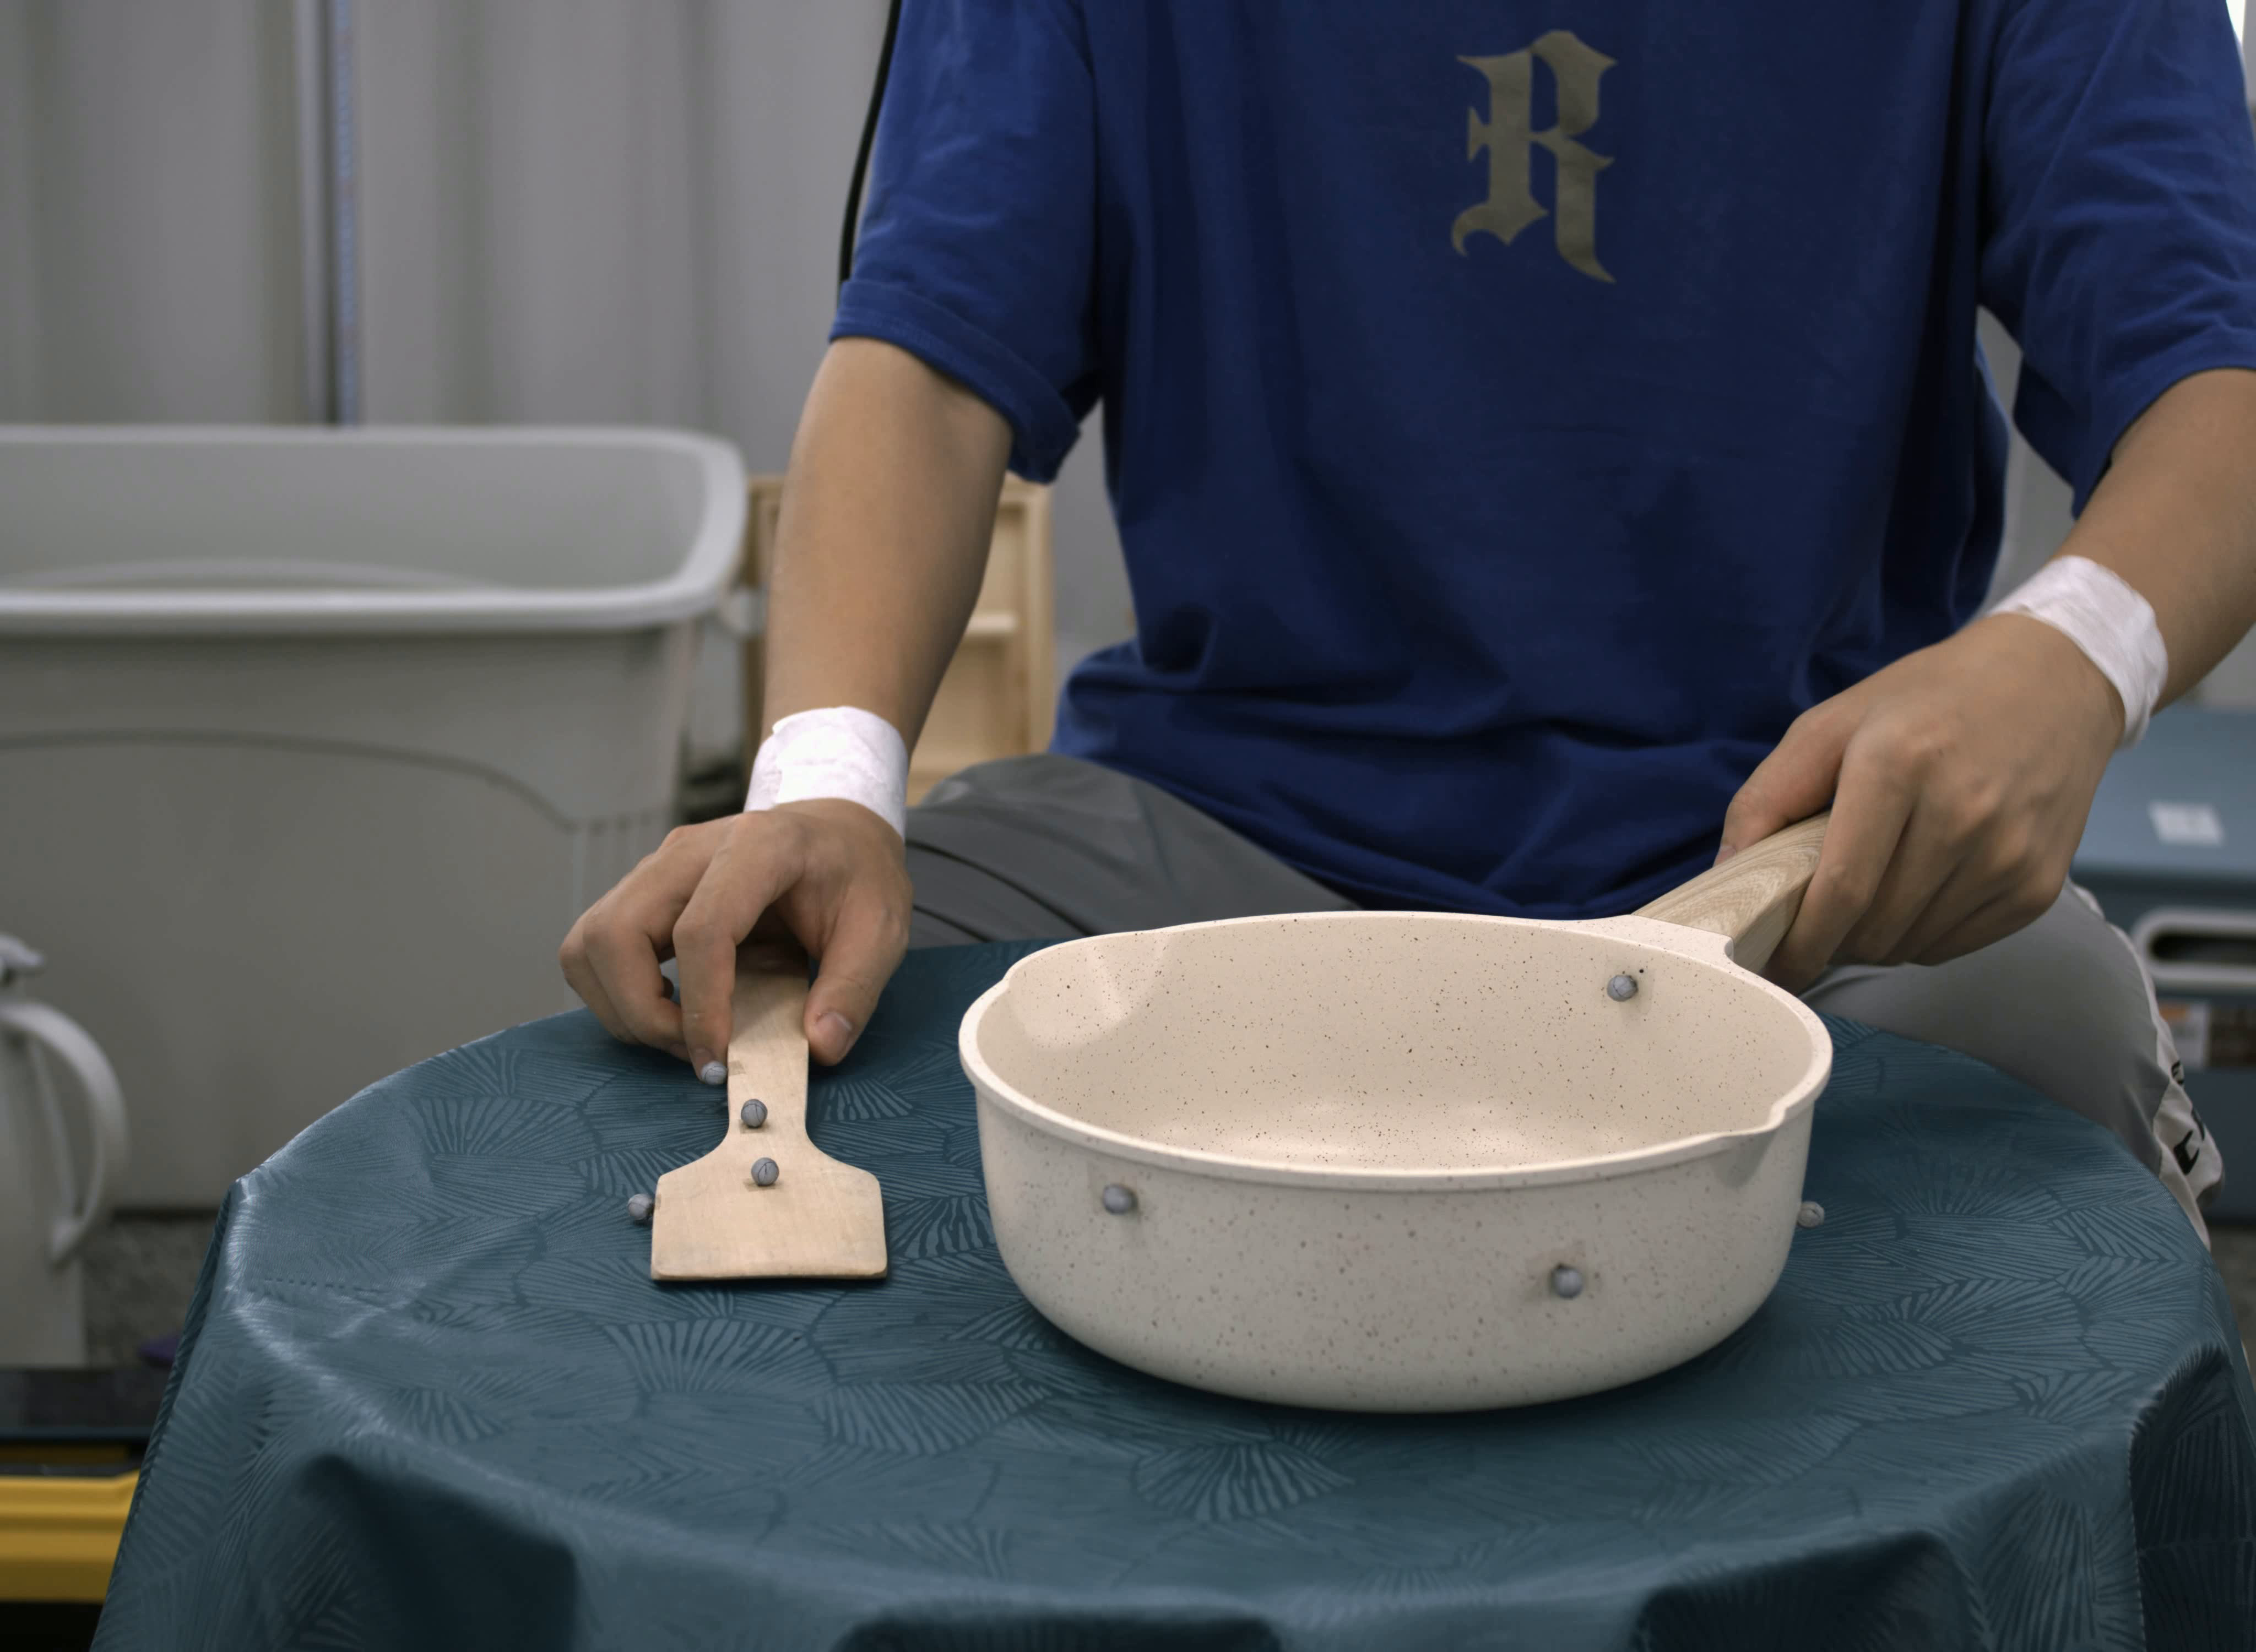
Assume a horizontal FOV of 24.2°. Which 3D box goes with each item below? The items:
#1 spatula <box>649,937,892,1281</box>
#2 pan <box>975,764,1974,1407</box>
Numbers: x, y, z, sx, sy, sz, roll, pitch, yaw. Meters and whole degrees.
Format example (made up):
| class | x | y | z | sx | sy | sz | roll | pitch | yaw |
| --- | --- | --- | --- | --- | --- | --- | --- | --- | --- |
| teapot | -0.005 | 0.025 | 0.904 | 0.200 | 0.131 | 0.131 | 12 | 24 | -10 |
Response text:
| class | x | y | z | sx | sy | sz | roll | pitch | yaw |
| --- | --- | --- | --- | --- | --- | --- | --- | --- | --- |
| spatula | -0.114 | 0.087 | 1.674 | 0.072 | 0.011 | 0.291 | -1 | 19 | -4 |
| pan | 0.139 | 0.072 | 1.587 | 0.260 | 0.103 | 0.437 | 10 | 18 | 37 |
